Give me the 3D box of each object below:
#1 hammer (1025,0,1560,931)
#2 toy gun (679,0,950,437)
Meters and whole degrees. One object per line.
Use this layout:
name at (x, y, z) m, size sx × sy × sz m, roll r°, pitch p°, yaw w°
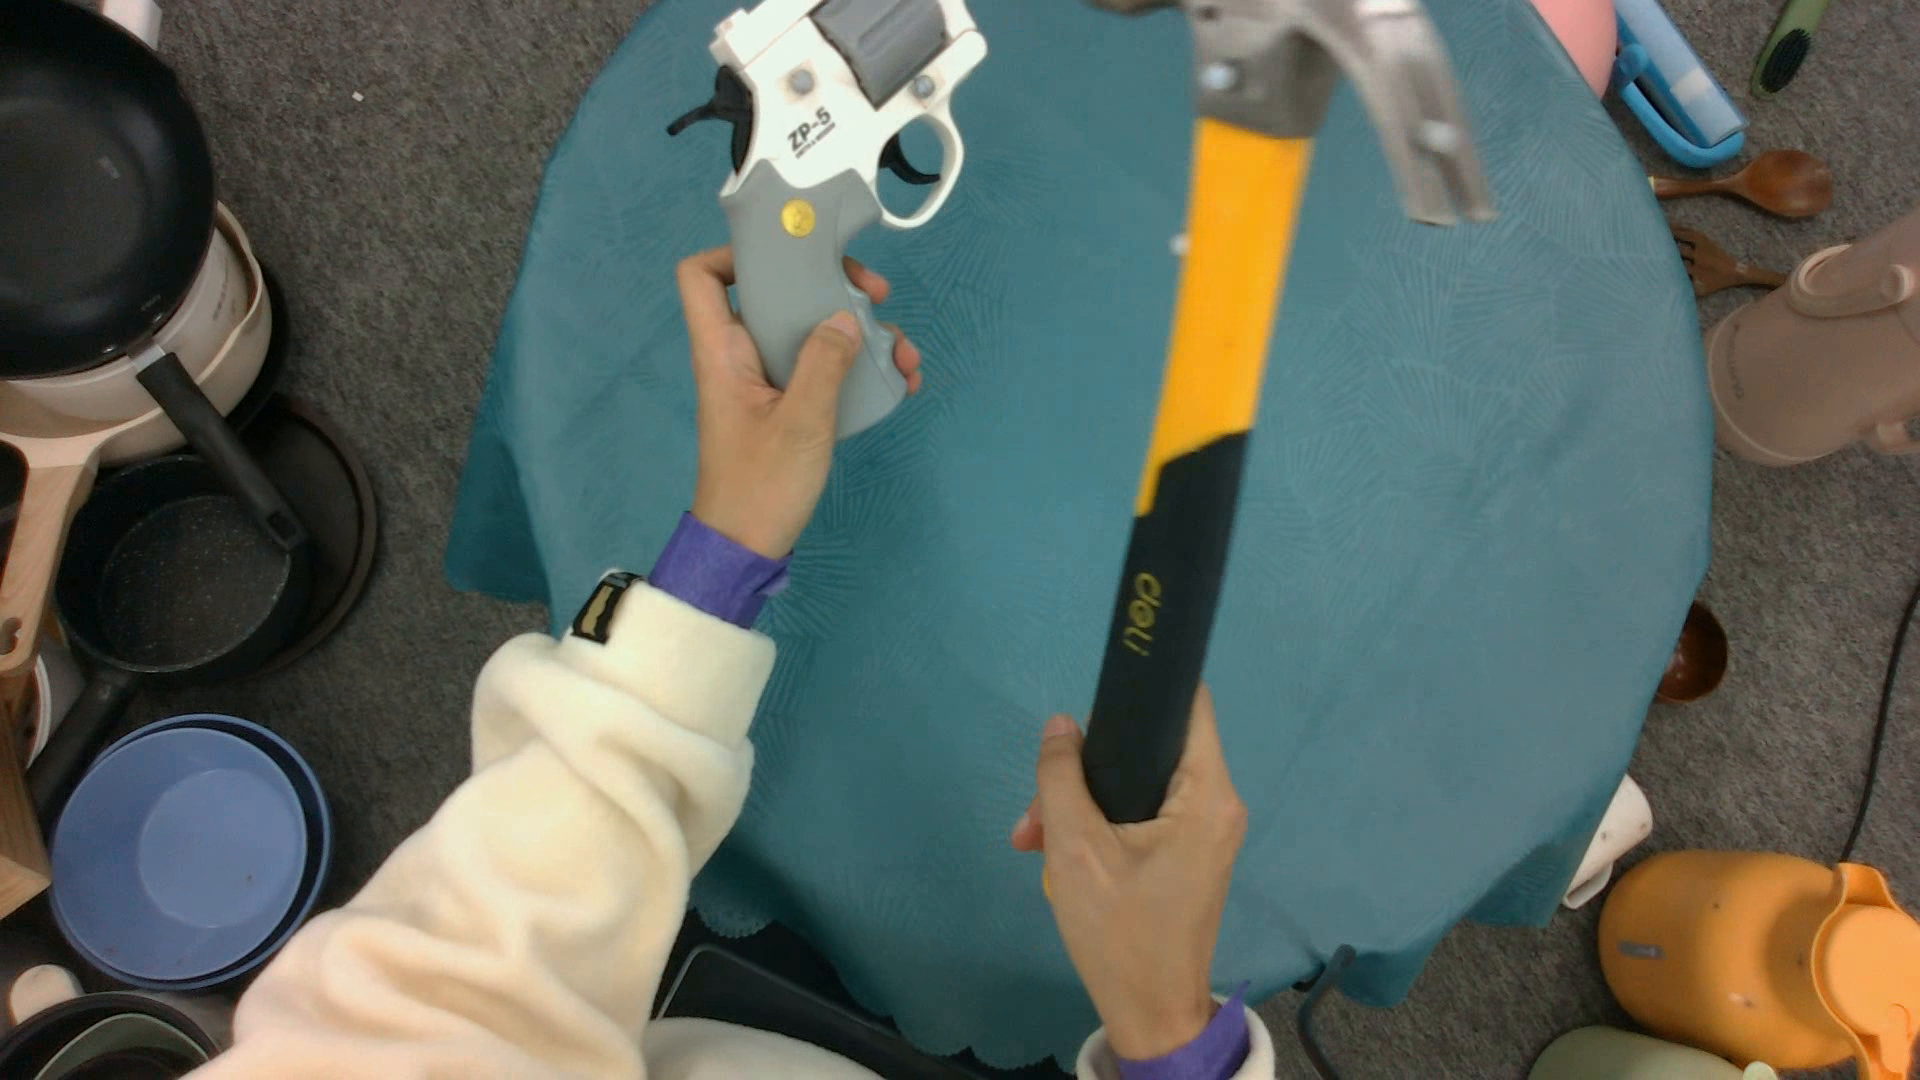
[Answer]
hammer at (0.071, -0.010, 0.418) m, size 0.032 × 0.337 × 0.131 m, roll -16°, pitch 41°, yaw -41°
toy gun at (-0.036, -0.155, 0.522) m, size 0.209 × 0.039 × 0.141 m, roll -49°, pitch 113°, yaw -15°
